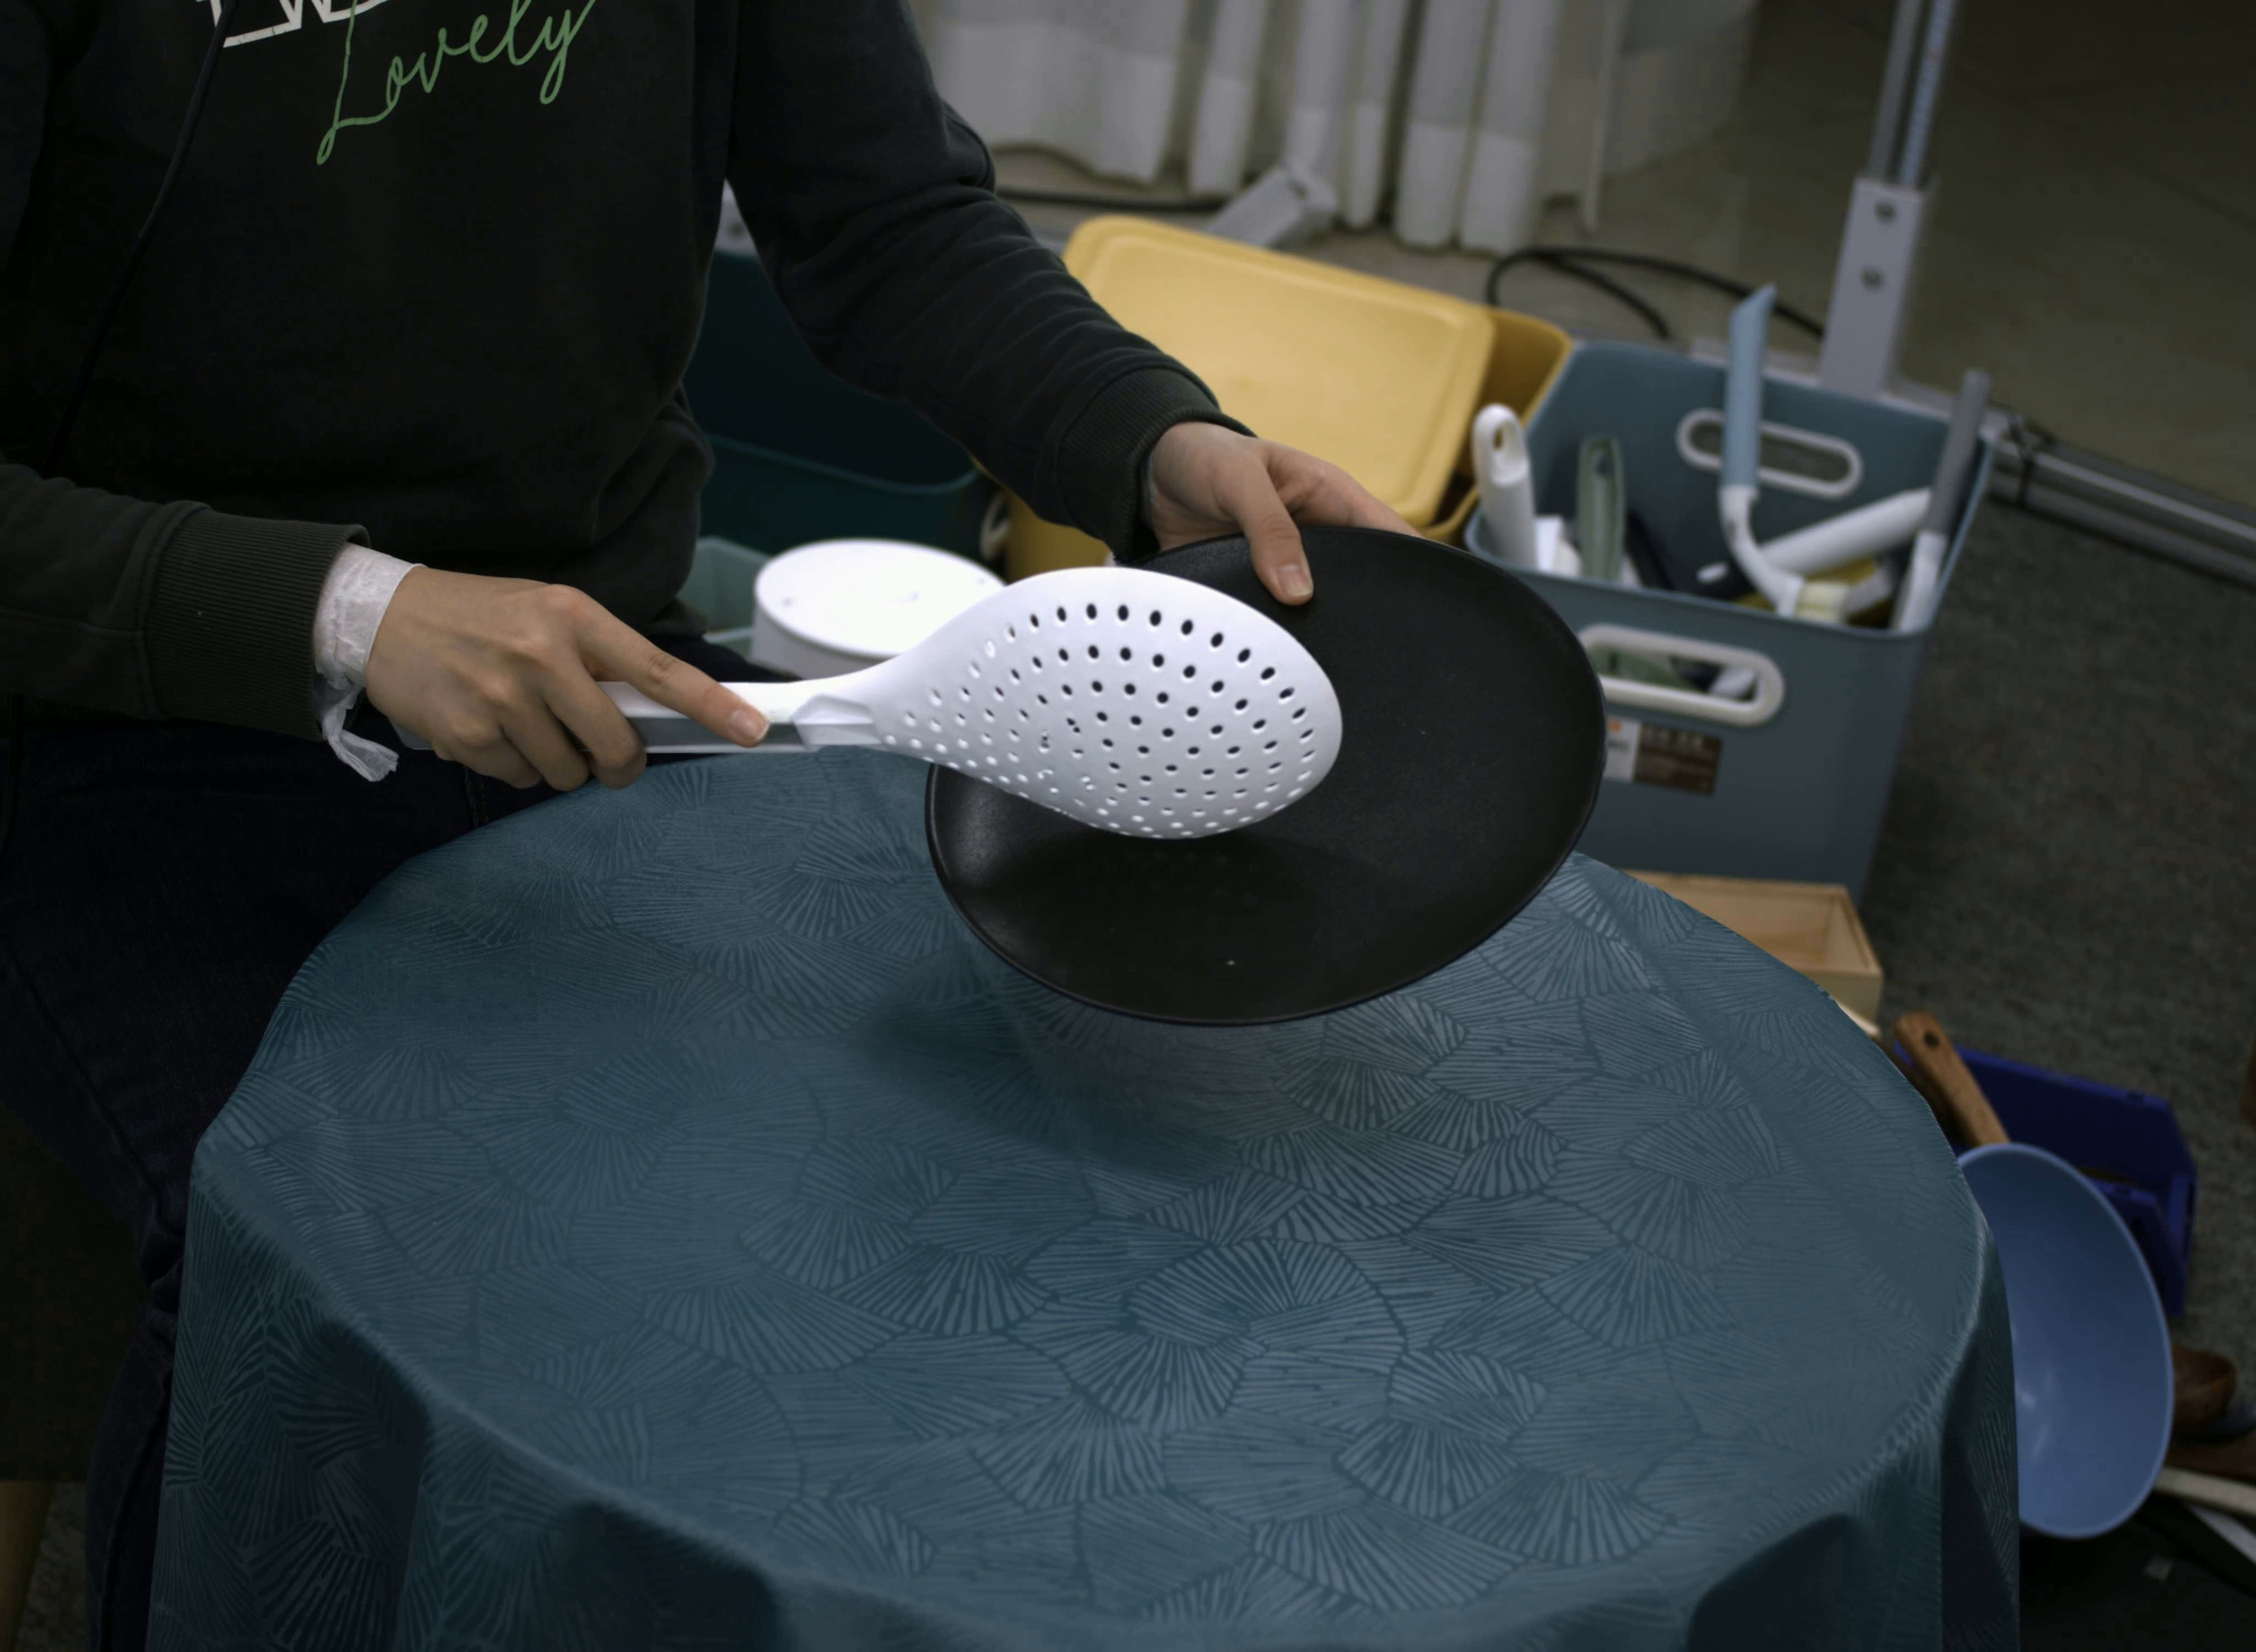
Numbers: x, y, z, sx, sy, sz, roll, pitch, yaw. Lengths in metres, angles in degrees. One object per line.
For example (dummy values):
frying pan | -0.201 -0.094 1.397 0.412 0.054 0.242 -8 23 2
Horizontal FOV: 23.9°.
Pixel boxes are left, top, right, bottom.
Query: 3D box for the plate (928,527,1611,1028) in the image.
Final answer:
plate | 0.050 -0.015 1.869 0.244 0.023 0.246 -8 44 7

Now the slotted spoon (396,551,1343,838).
slotted spoon | -0.096 -0.039 1.850 0.350 0.135 0.046 3 49 23
